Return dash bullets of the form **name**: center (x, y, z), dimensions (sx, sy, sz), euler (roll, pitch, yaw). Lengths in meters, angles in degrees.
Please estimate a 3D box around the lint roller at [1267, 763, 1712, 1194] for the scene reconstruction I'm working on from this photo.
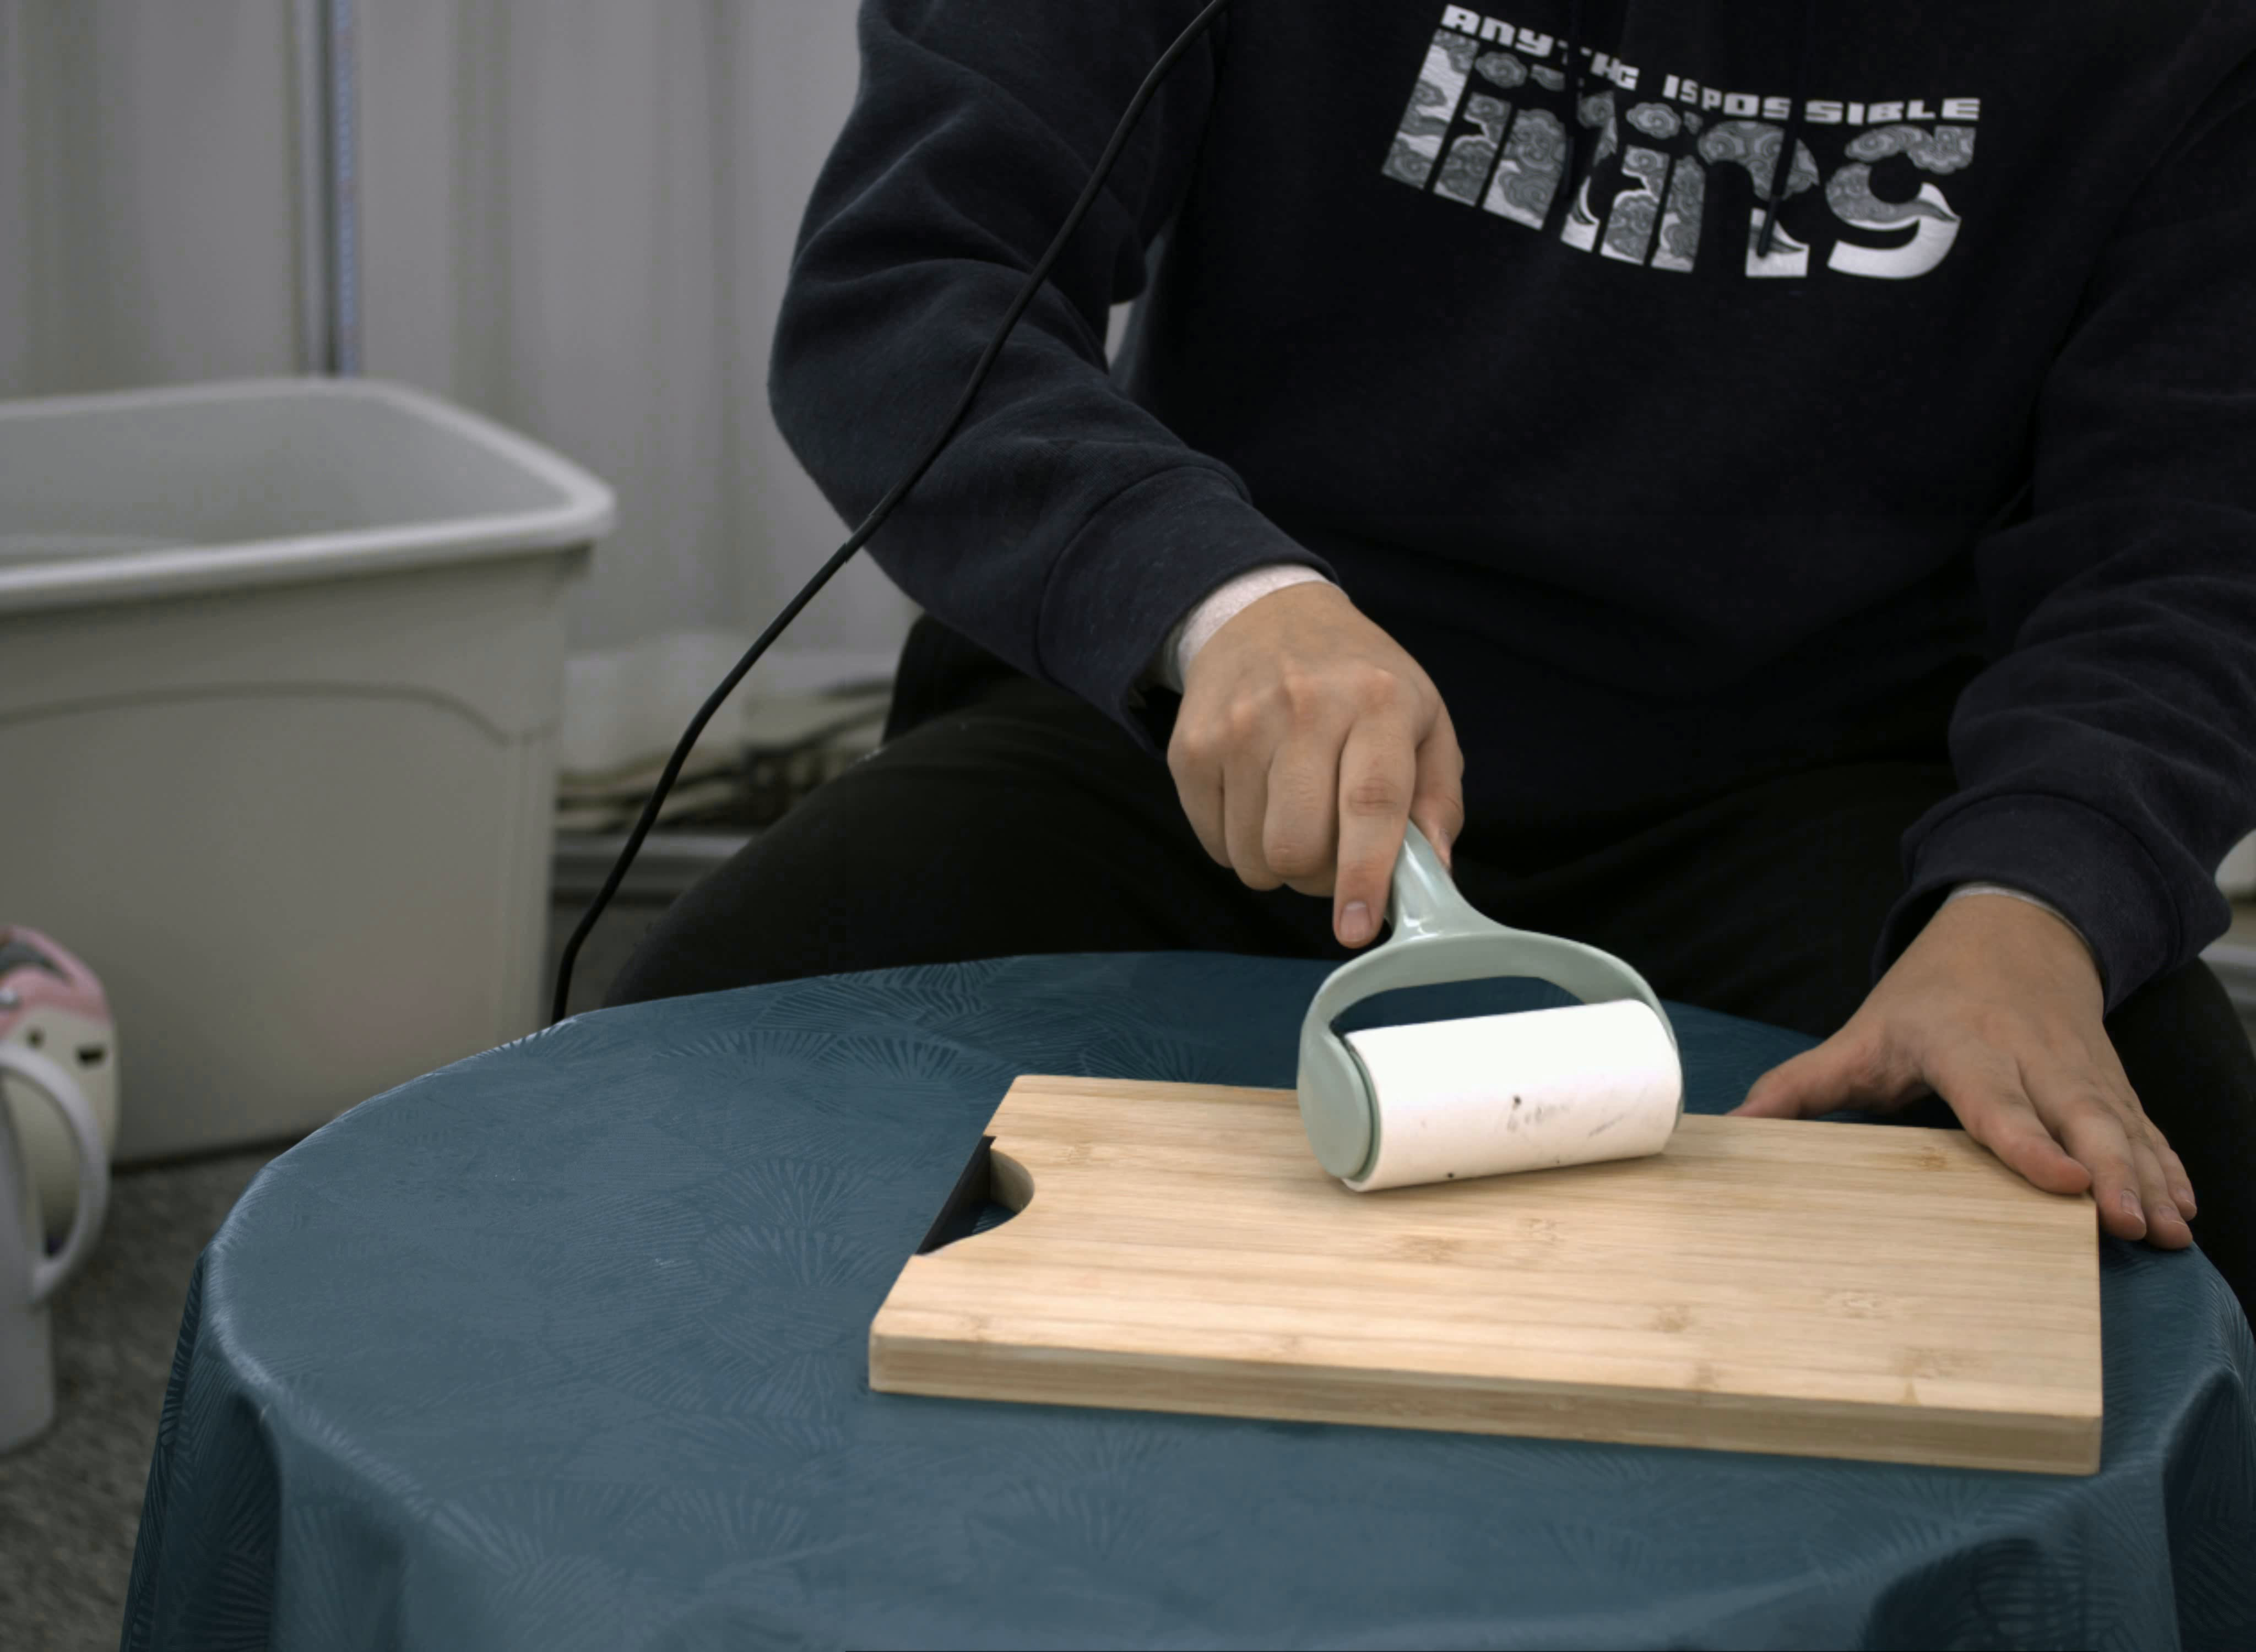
- **lint roller**: center (0.094, 0.034, 1.642), dimensions (0.117, 0.049, 0.195), euler (-8, 44, -22)

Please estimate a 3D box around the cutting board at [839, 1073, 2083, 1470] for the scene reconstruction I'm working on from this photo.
- **cutting board**: center (0.108, 0.127, 1.551), dimensions (0.346, 0.024, 0.250), euler (3, 15, 7)
